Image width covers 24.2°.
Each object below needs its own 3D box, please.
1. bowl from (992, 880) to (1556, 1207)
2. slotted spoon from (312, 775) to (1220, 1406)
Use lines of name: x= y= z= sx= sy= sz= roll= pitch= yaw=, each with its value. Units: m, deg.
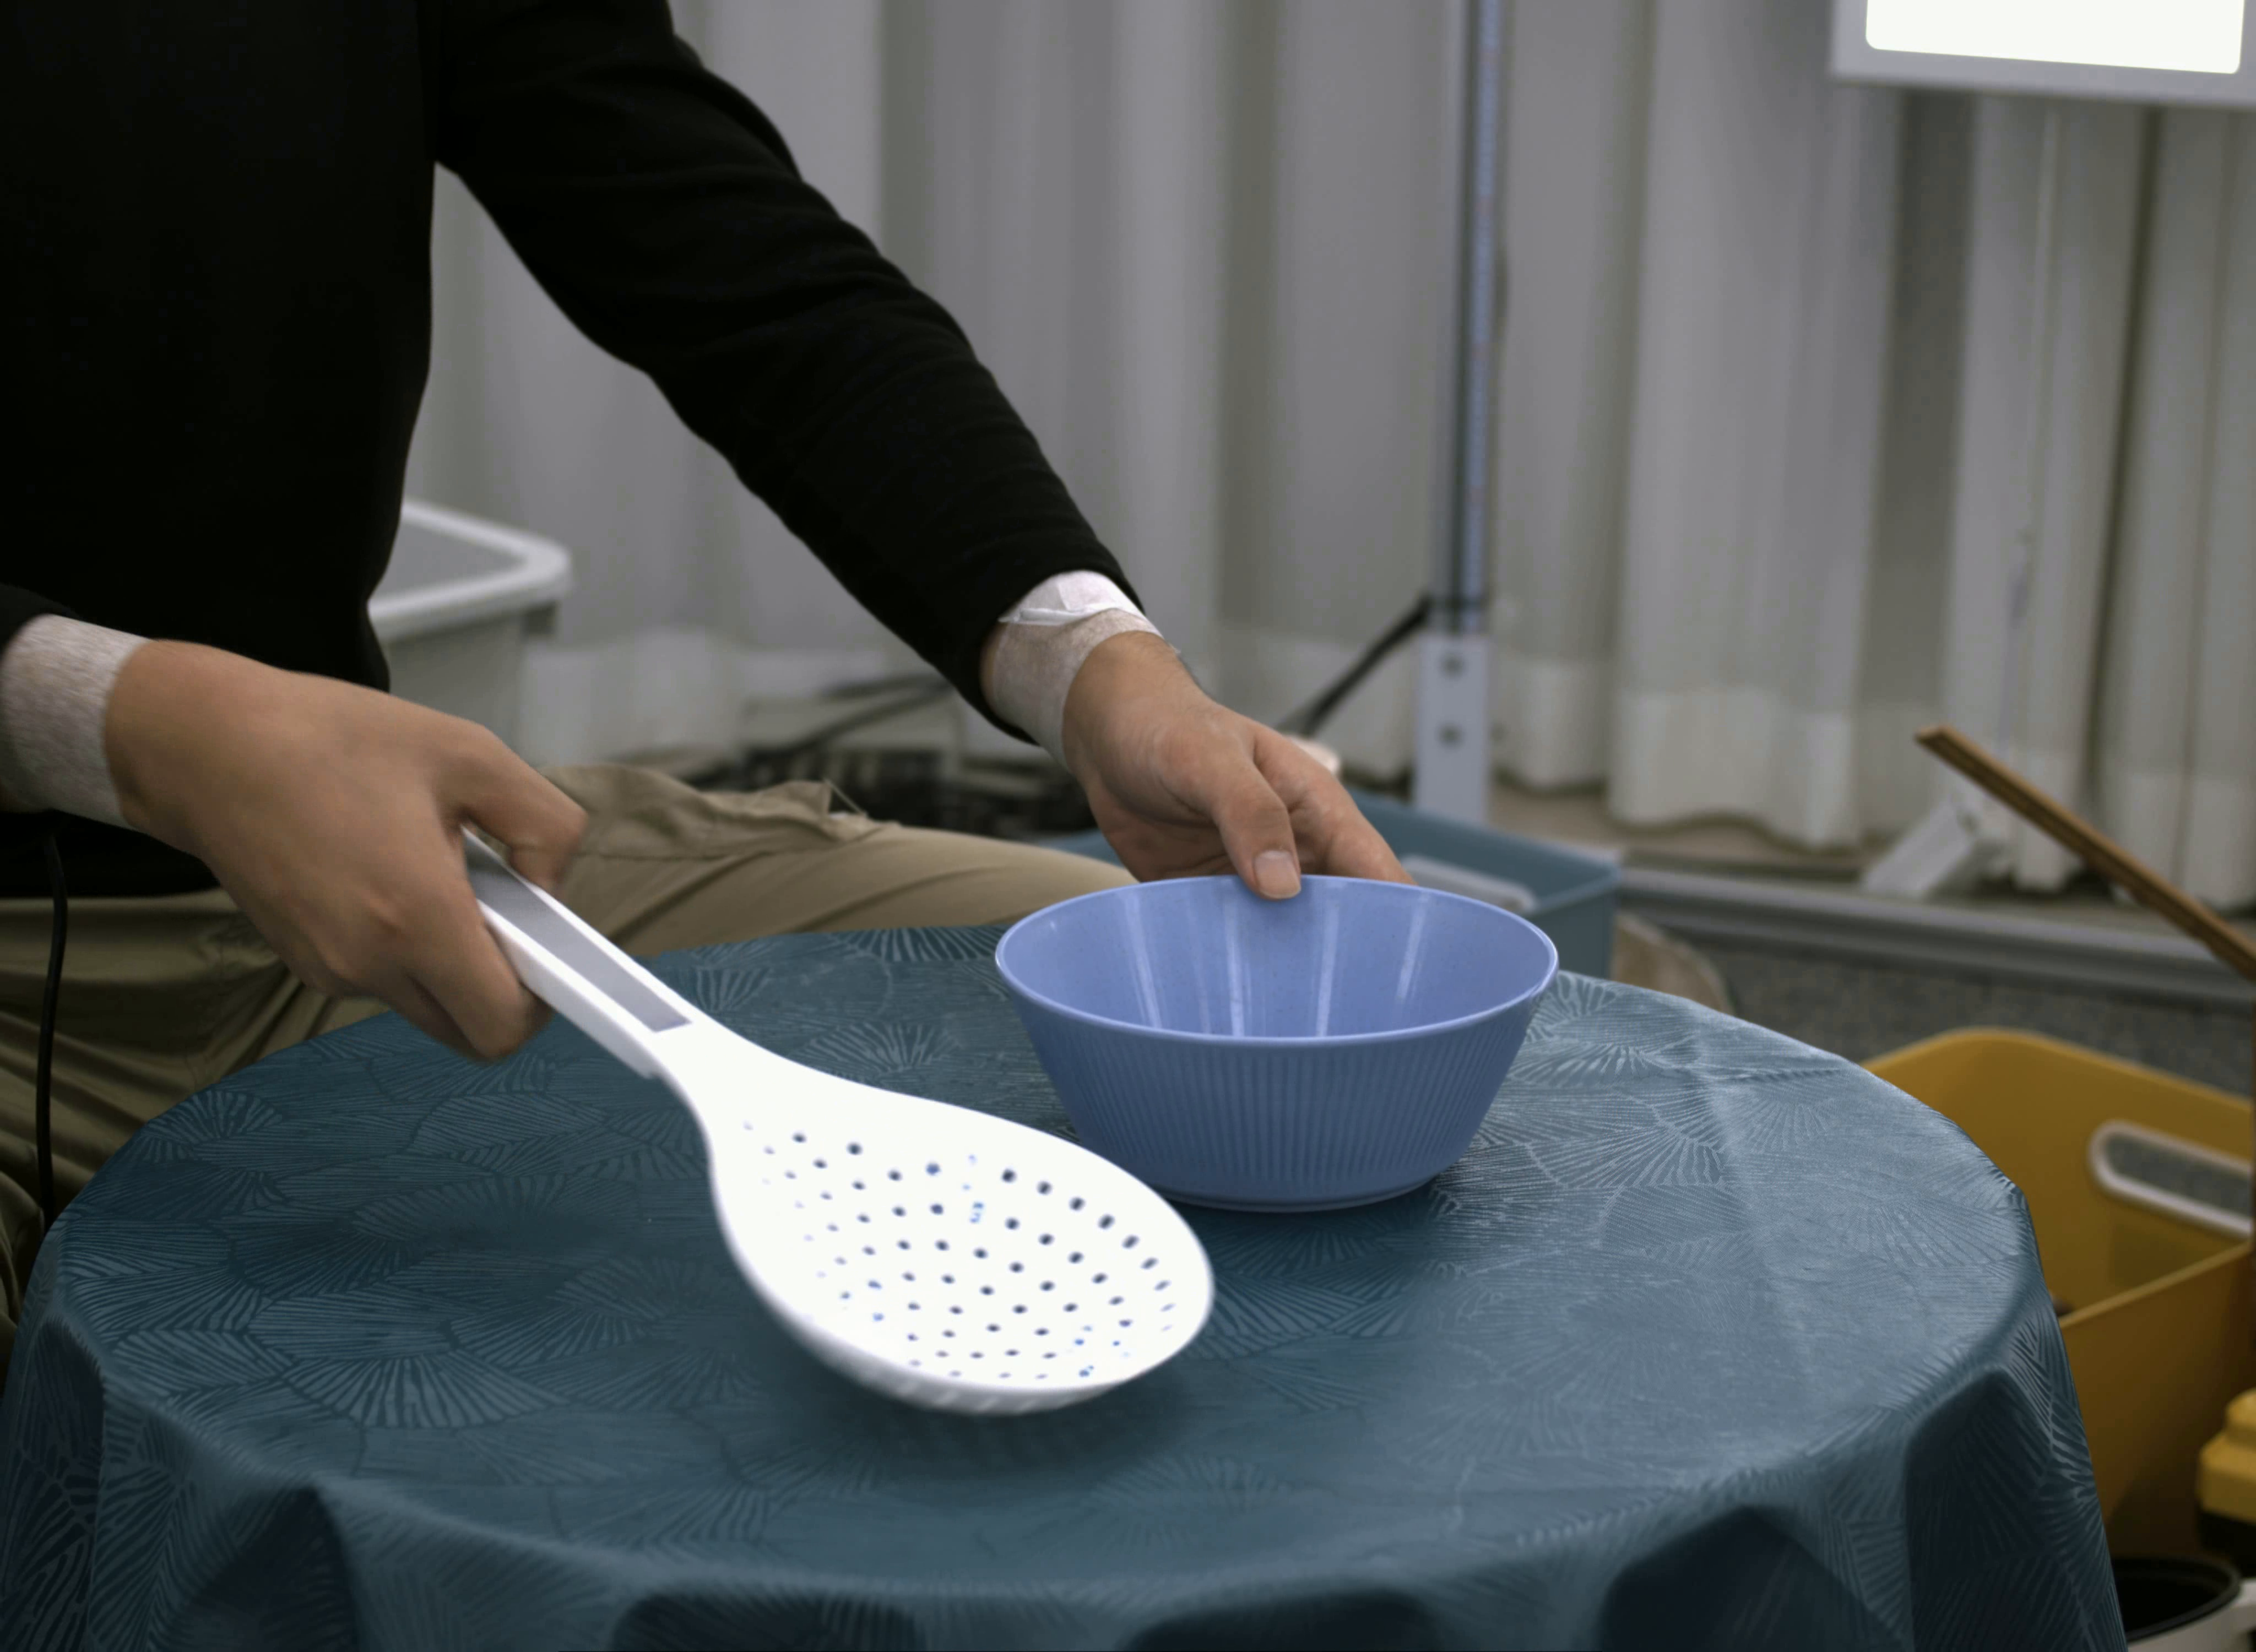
bowl: x=0.046 y=0.070 z=1.645 sx=0.175 sy=0.071 sz=0.175 roll=0 pitch=15 yaw=1
slotted spoon: x=-0.118 y=0.070 z=1.503 sx=0.345 sy=0.046 sz=0.137 roll=37 pitch=33 yaw=30
